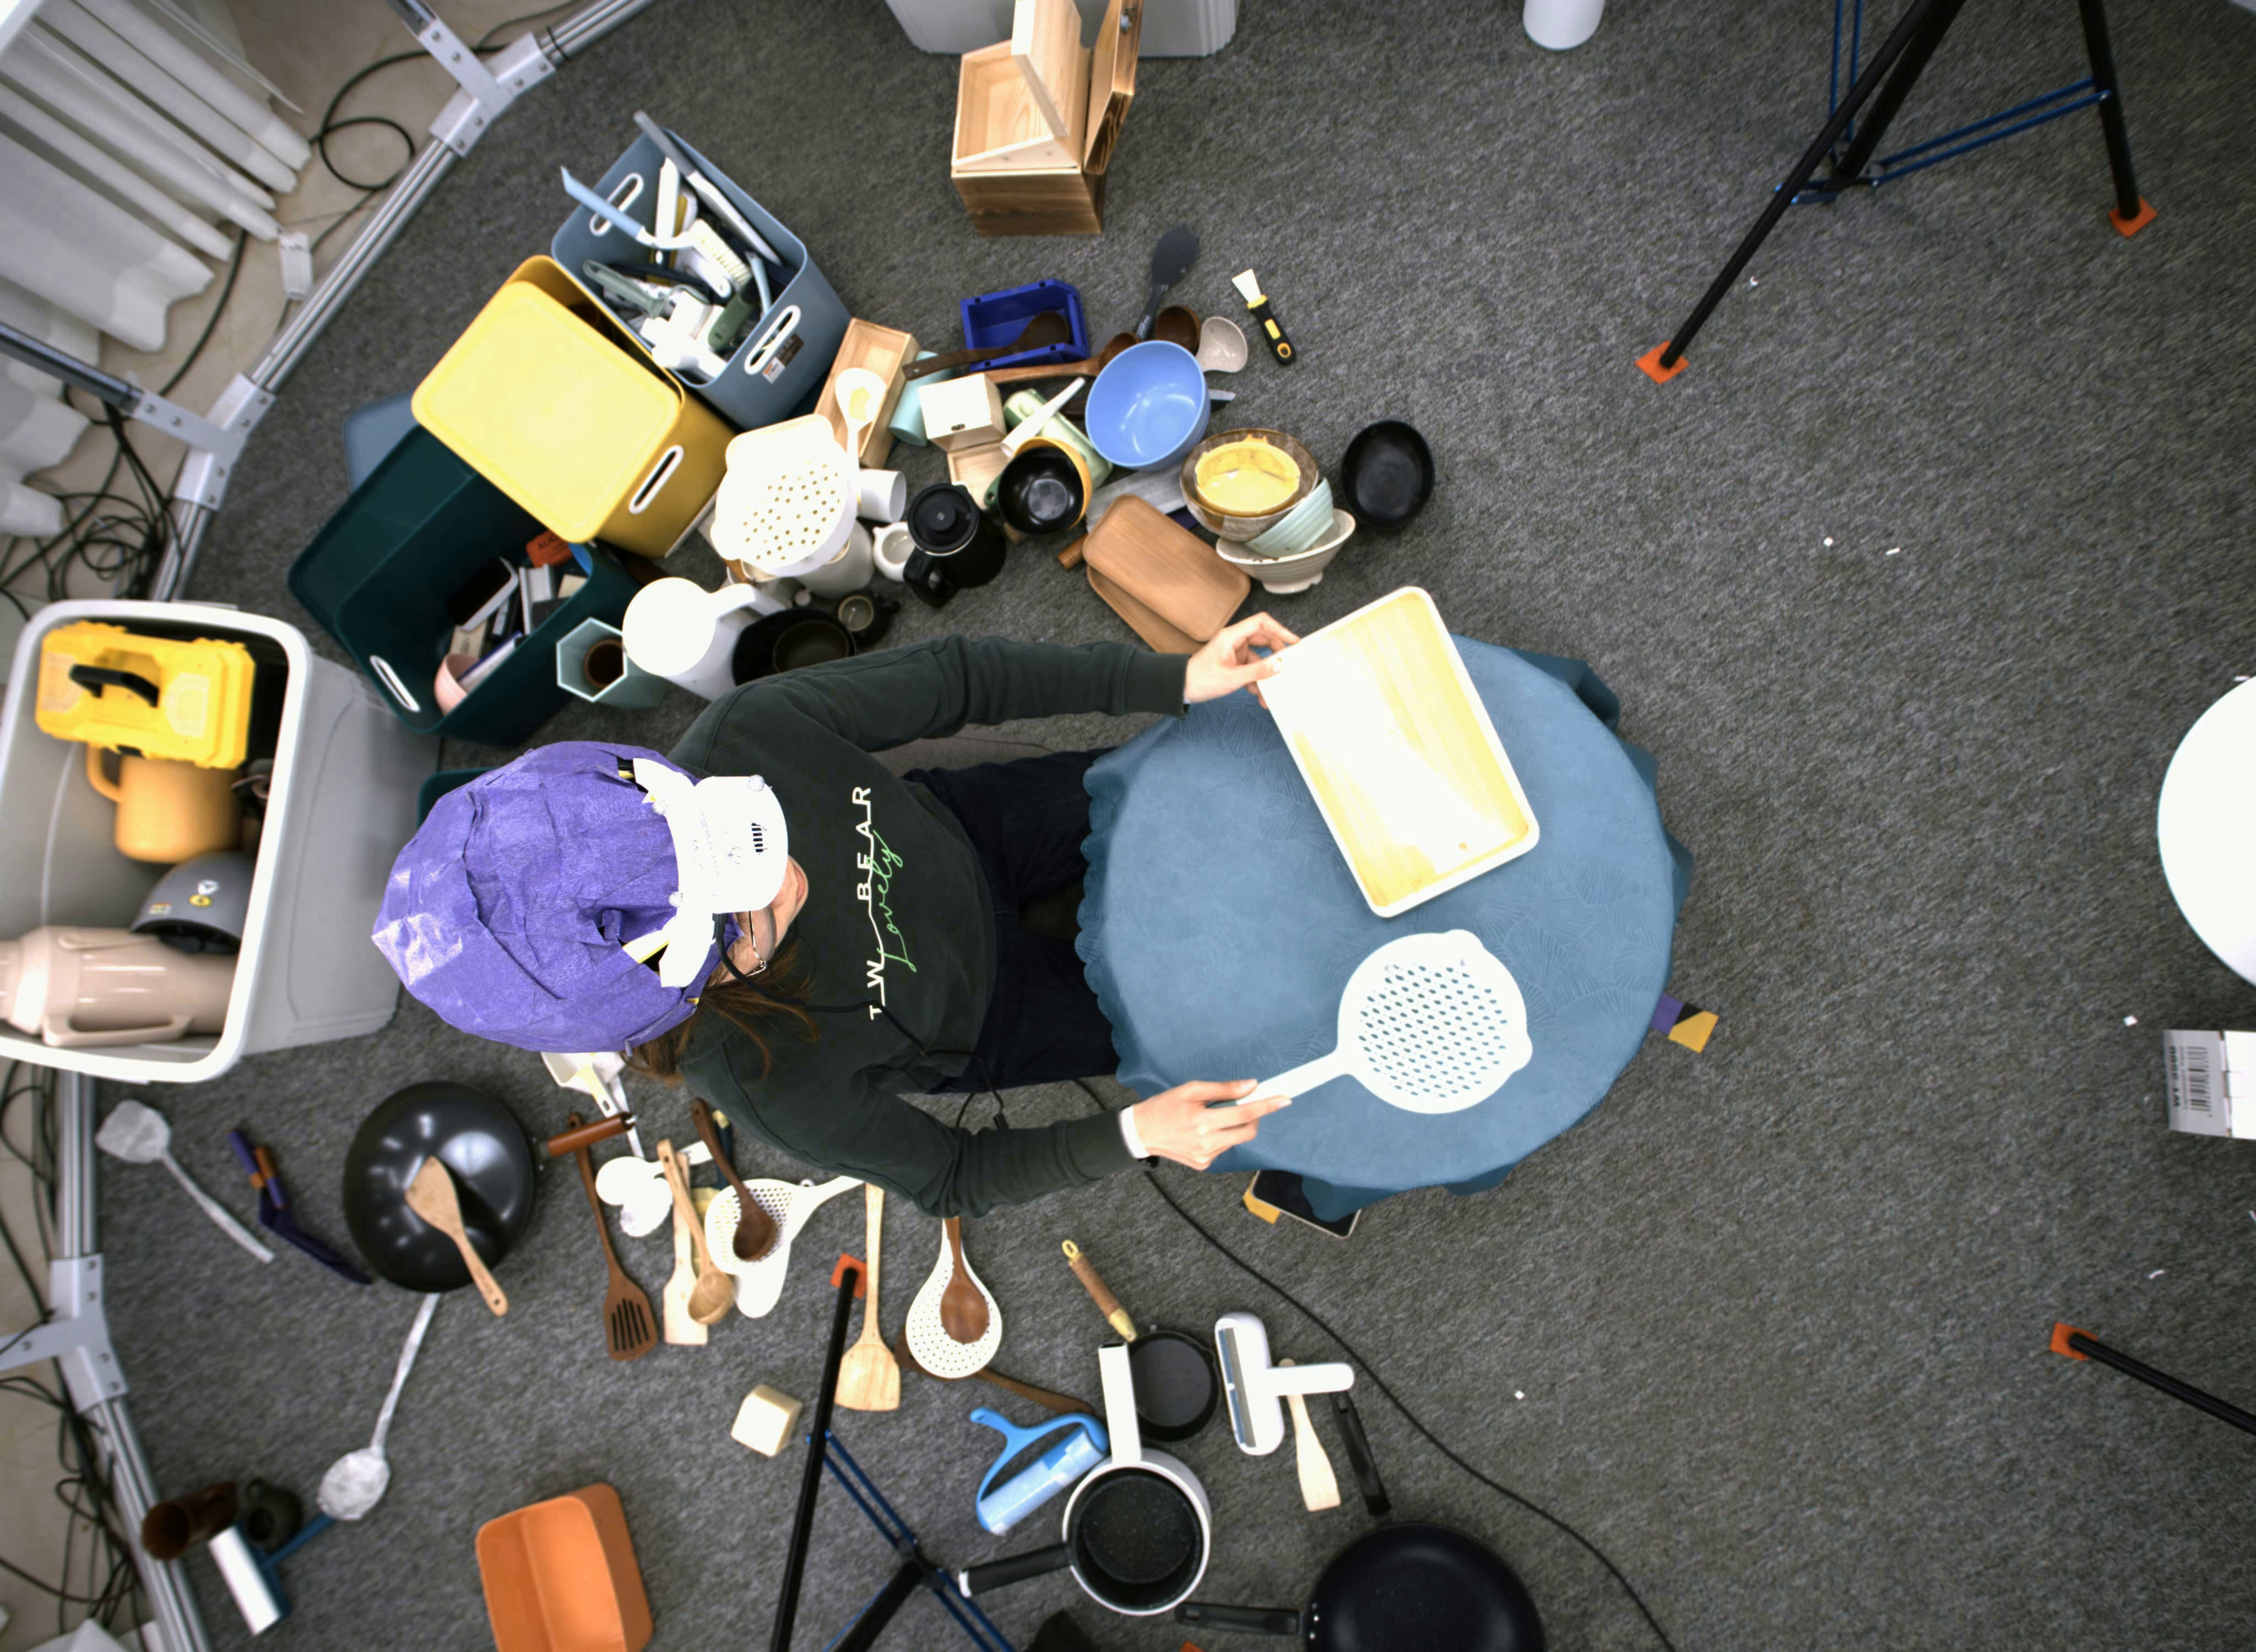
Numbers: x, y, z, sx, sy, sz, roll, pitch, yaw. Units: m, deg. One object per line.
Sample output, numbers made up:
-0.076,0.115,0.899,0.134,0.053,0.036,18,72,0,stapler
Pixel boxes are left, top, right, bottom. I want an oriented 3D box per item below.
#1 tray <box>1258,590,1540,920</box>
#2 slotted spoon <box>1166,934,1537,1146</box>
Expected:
0.277,-0.071,1.403,0.193,0.027,0.302,-26,103,9,tray
0.203,0.227,1.312,0.359,0.076,0.166,-20,66,-2,slotted spoon
